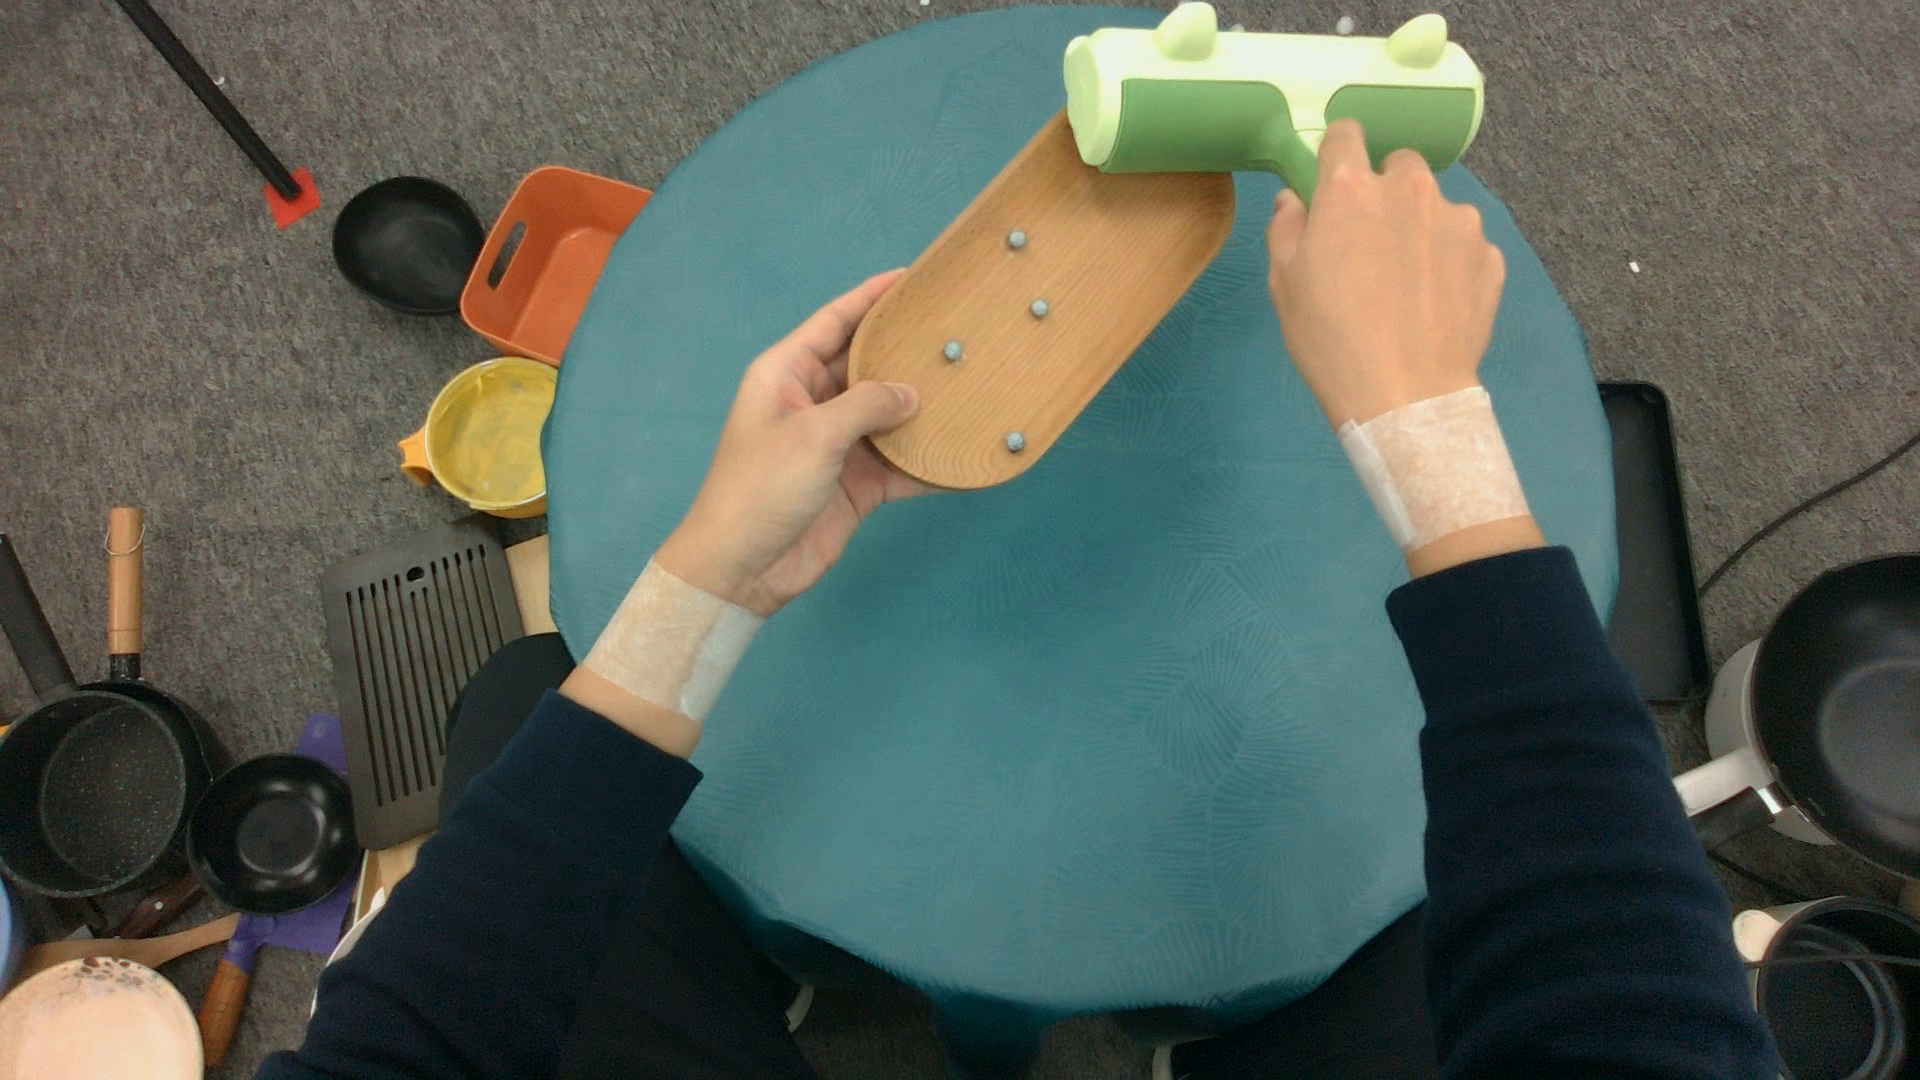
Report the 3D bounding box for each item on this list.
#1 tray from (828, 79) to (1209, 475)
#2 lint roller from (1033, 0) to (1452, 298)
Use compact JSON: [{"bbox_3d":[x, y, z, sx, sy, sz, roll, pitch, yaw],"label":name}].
[{"bbox_3d":[0.030,-0.126,0.631,0.101,0.020,0.232,40,70,-5],"label":"tray"},{"bbox_3d":[0.151,-0.182,0.597,0.199,0.082,0.184,-7,41,-17],"label":"lint roller"}]
